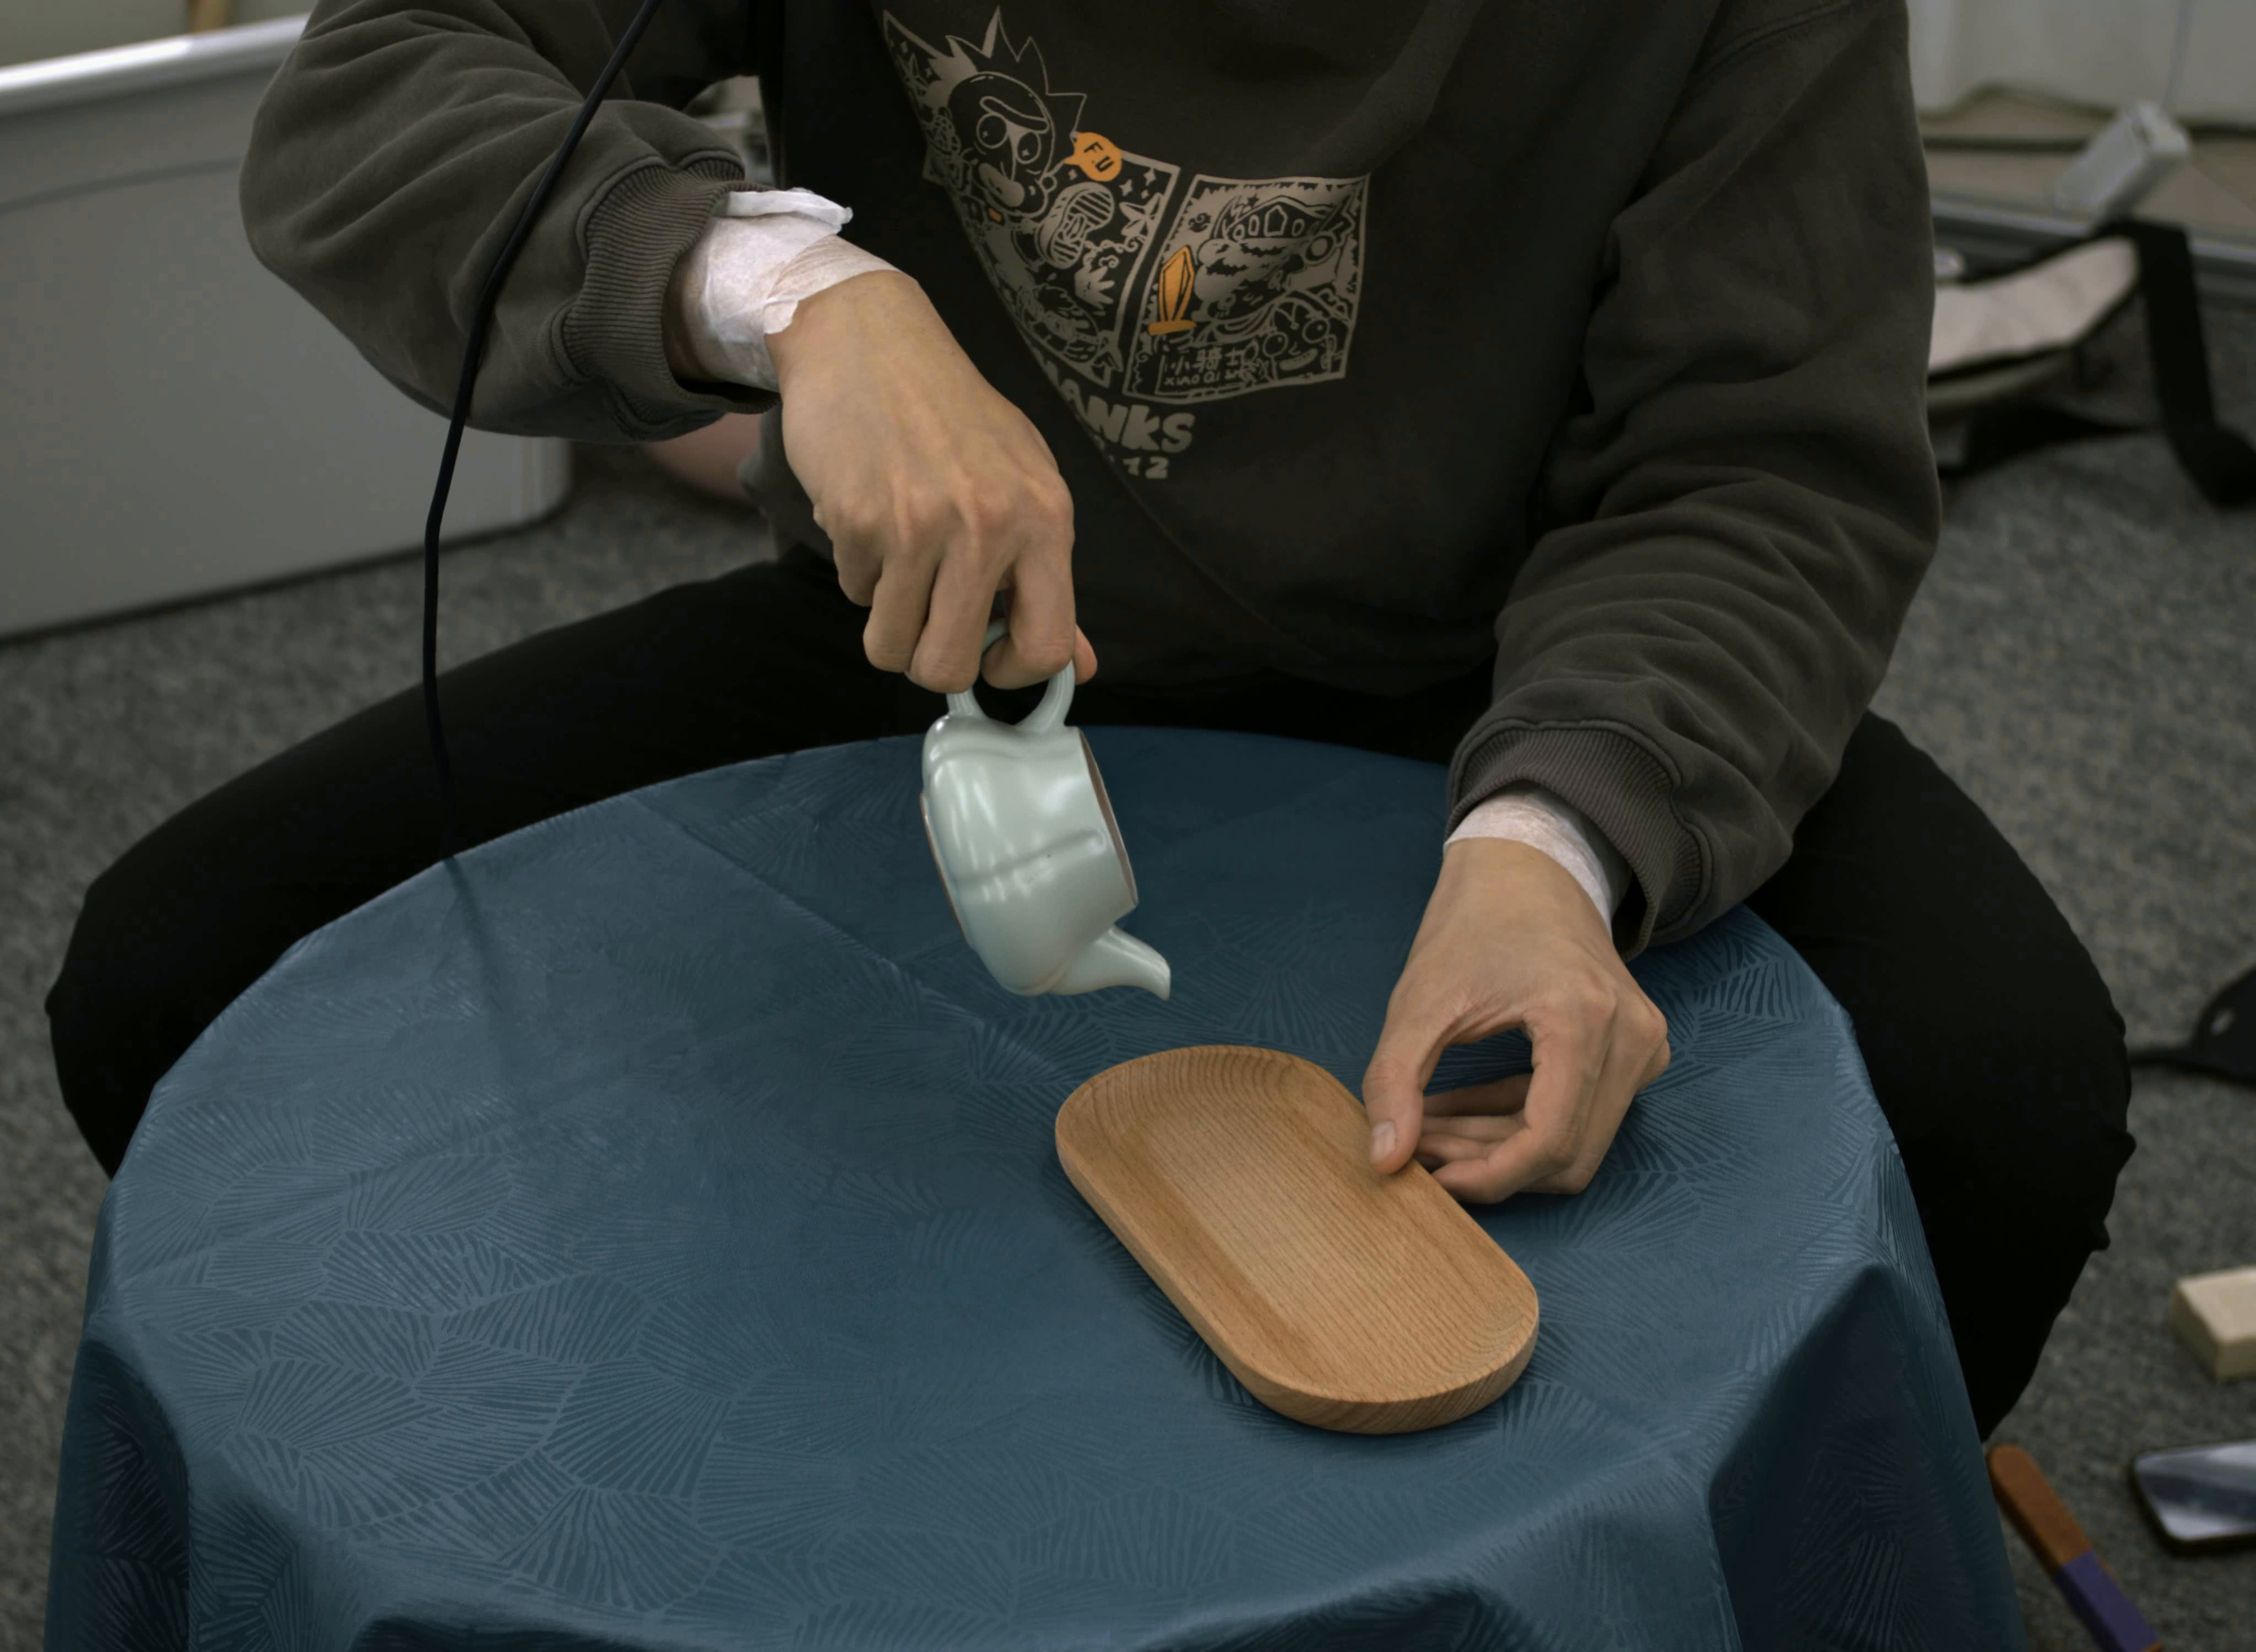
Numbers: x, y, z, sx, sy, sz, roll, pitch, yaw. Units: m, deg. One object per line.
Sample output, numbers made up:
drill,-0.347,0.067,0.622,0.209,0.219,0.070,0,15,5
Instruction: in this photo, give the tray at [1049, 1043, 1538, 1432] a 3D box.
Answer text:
tray,0.051,0.131,1.819,0.102,0.020,0.232,-14,28,-20

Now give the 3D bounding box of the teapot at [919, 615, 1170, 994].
teapot,-0.033,0.000,1.820,0.061,0.136,0.097,-17,13,3
